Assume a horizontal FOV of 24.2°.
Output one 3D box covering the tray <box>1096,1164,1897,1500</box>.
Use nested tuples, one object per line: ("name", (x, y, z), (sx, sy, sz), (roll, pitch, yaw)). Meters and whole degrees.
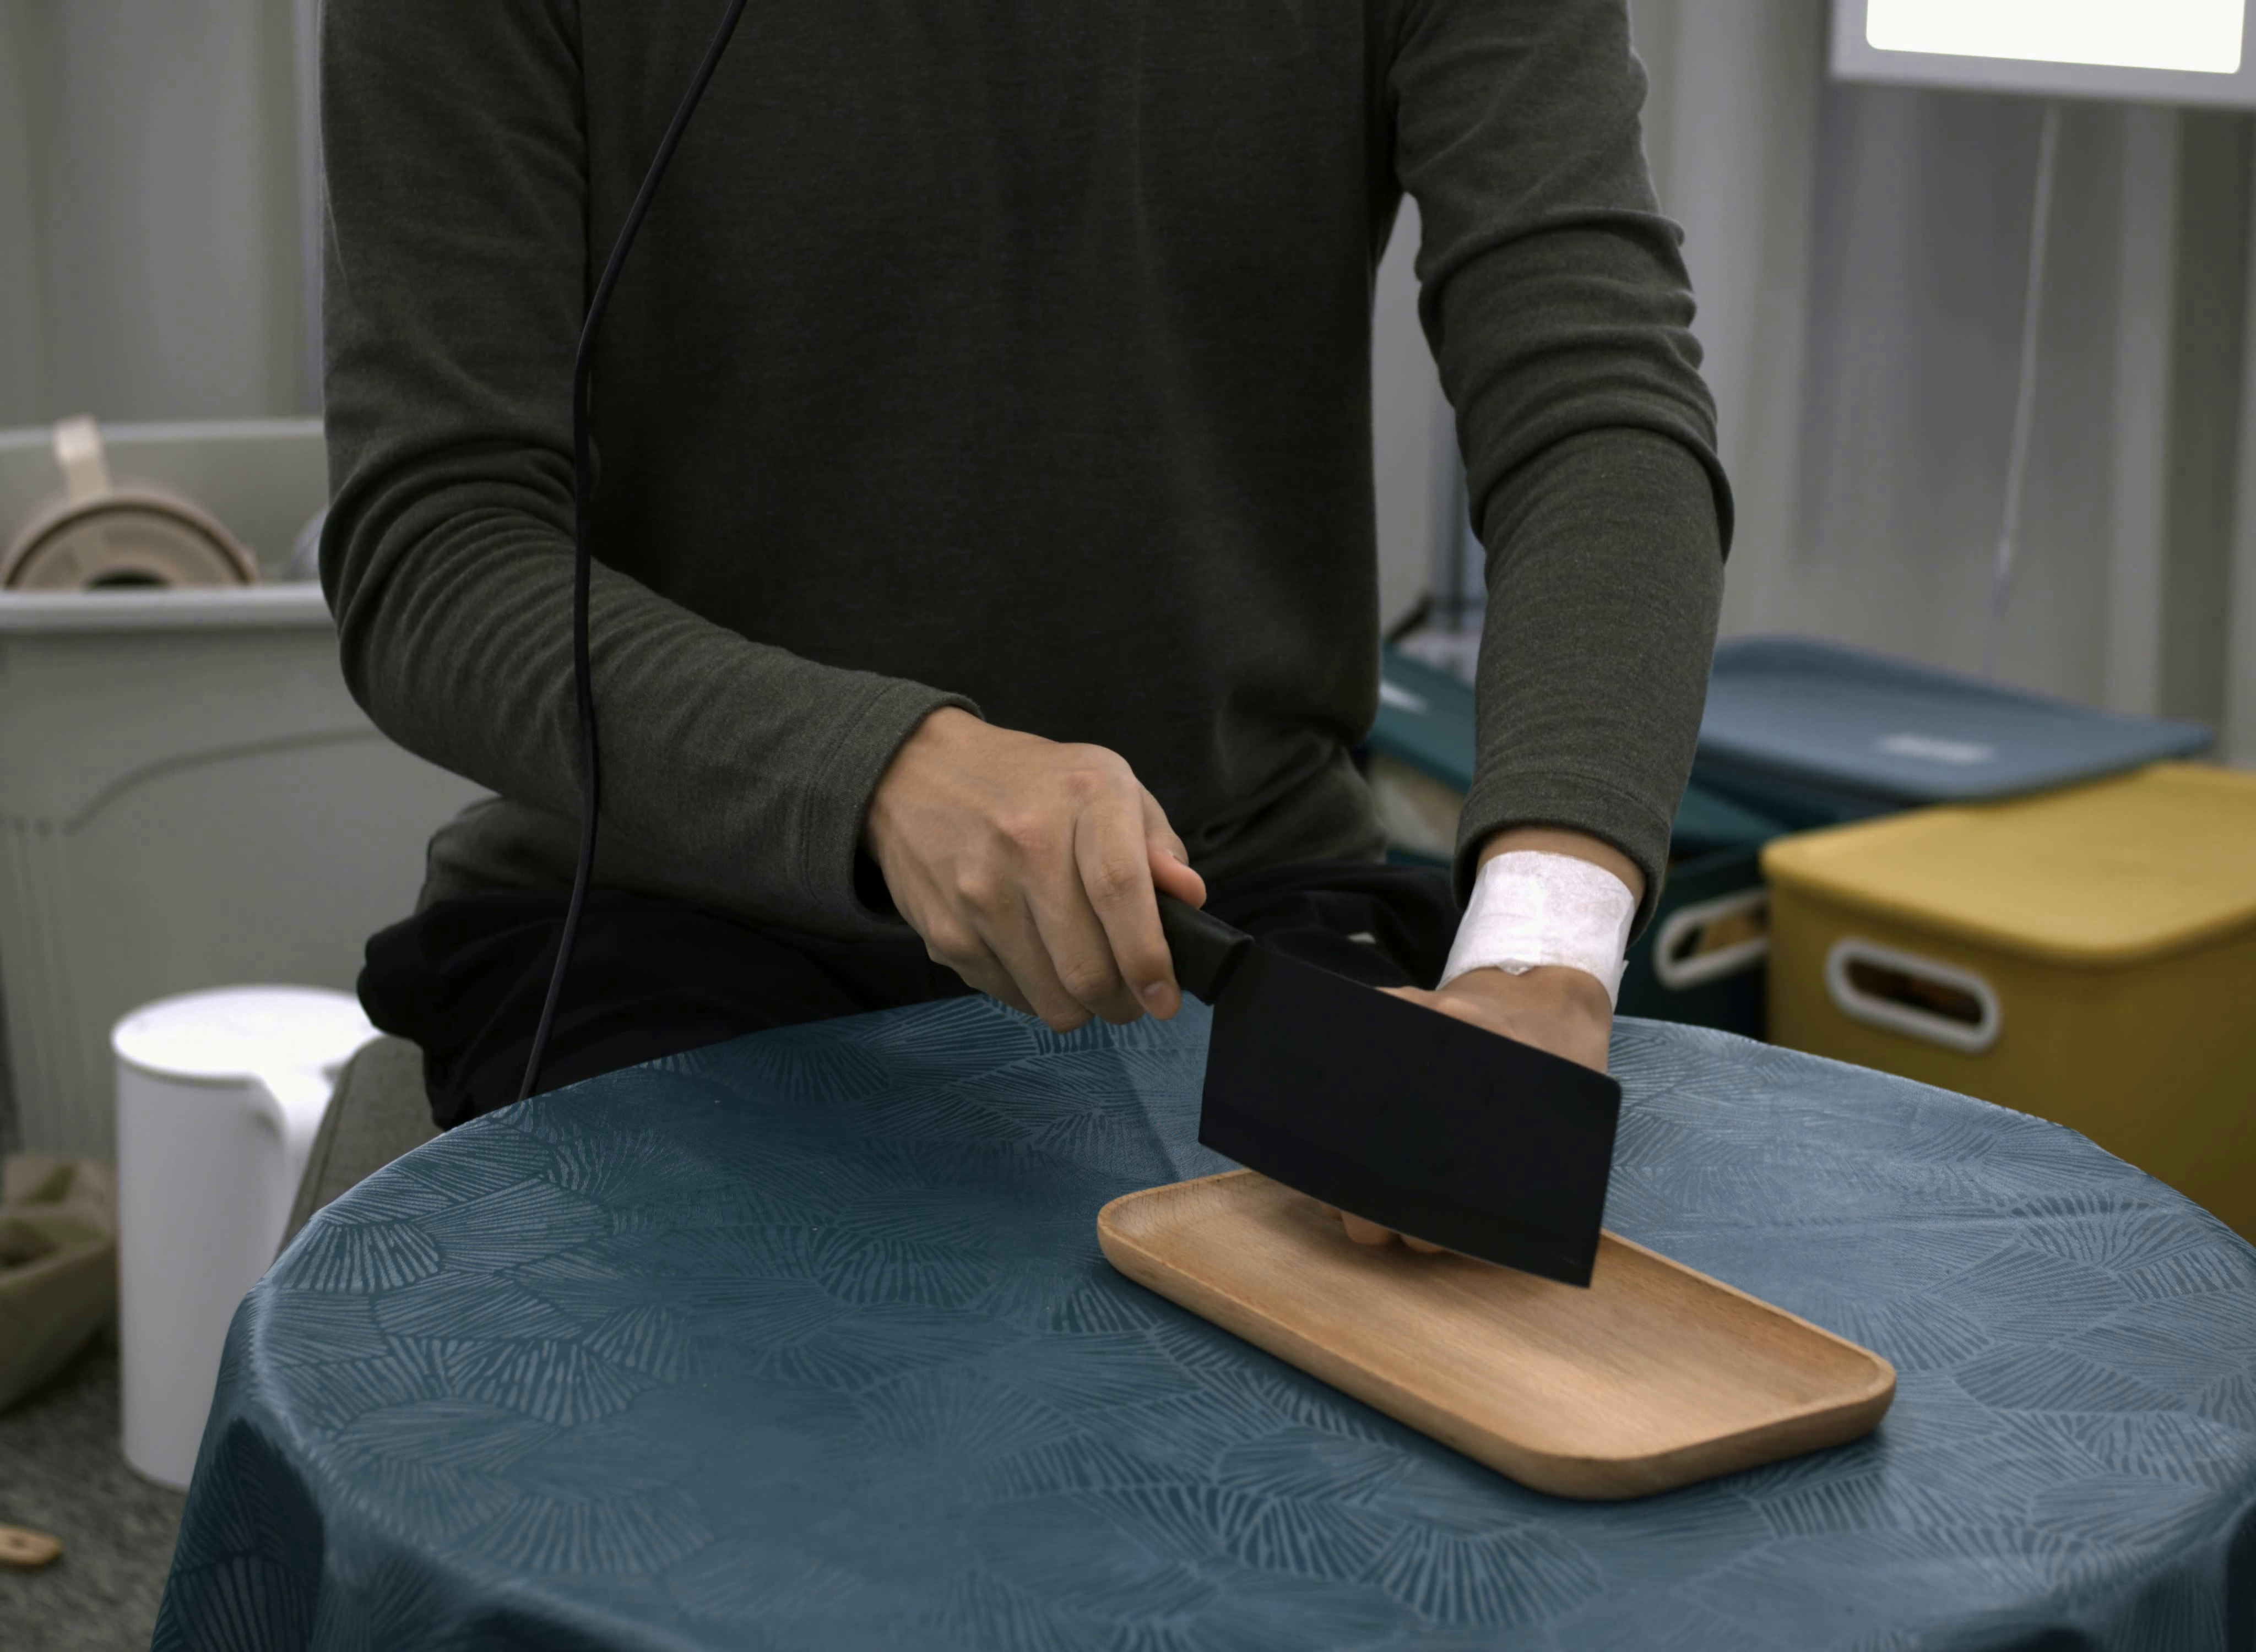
("tray", (0.100, 0.139, 1.504), (0.131, 0.023, 0.247), (-7, 15, -32))

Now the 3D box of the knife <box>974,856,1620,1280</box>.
("knife", (0.044, 0.064, 1.549), (0.021, 0.081, 0.298), (1, 15, -37))
